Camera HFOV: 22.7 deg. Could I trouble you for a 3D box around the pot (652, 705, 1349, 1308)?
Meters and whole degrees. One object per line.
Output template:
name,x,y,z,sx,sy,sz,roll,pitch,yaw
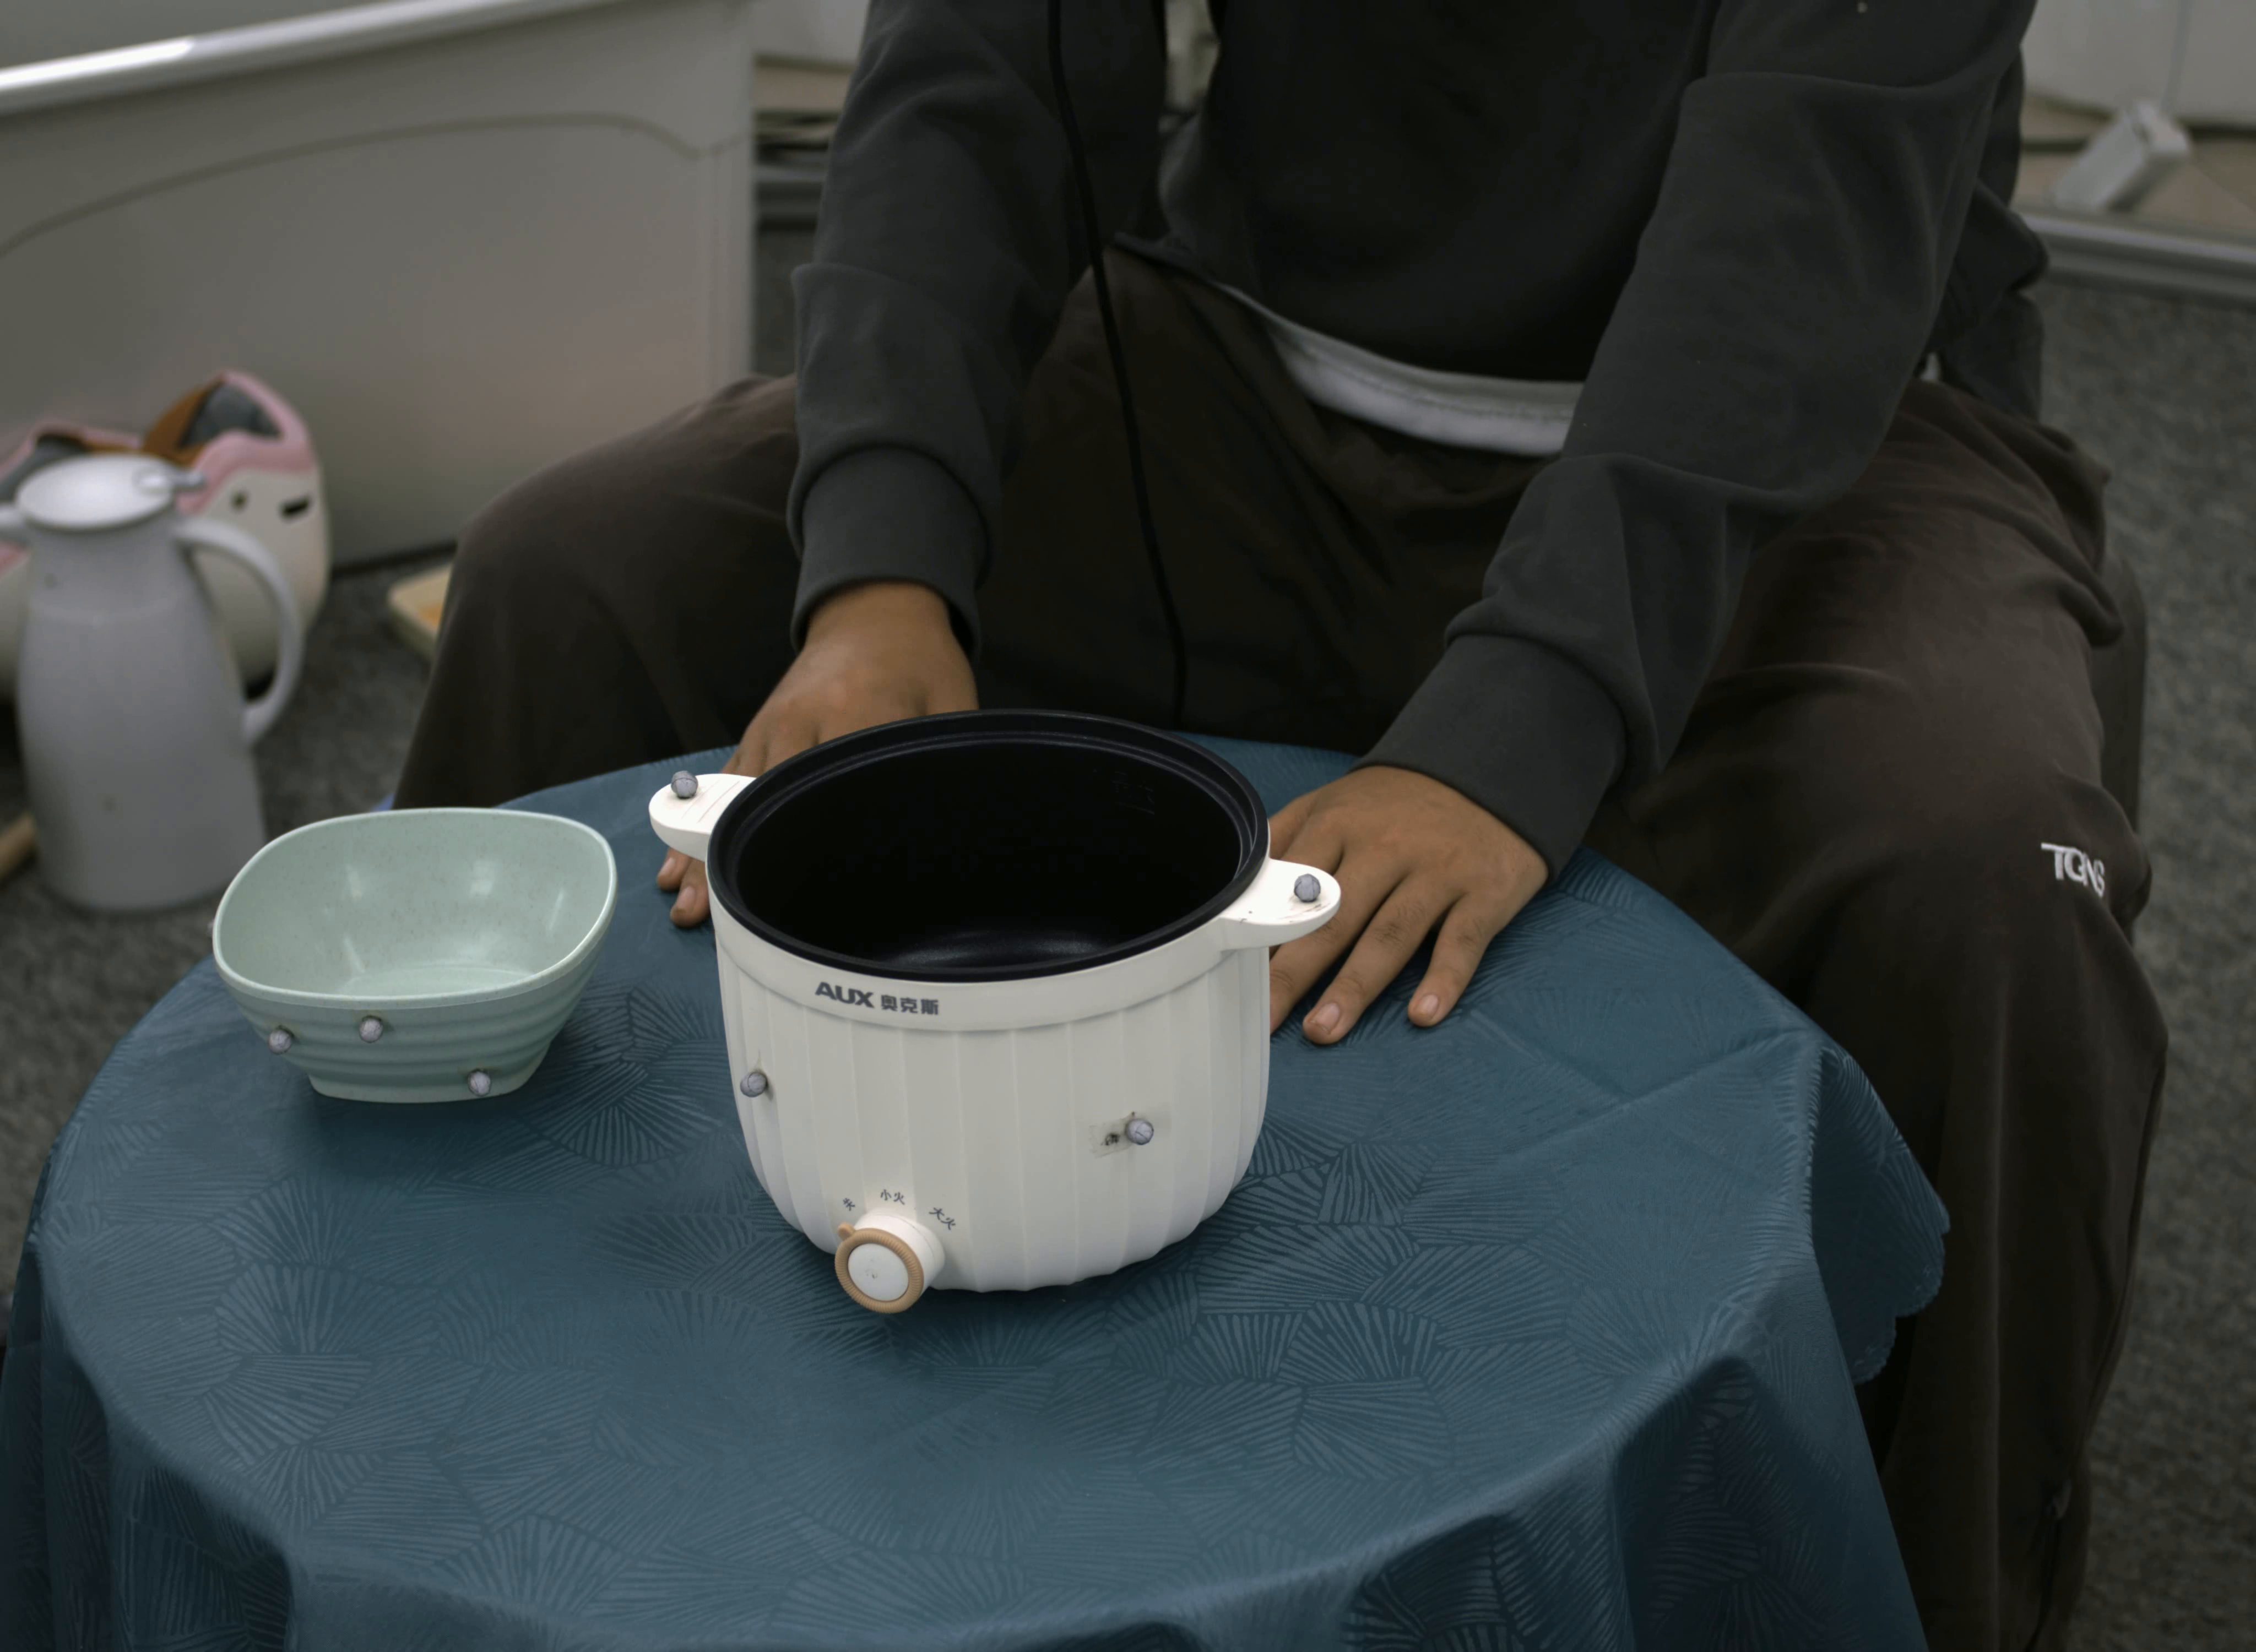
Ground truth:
pot,-0.041,0.062,1.832,0.238,0.141,0.193,6,25,20

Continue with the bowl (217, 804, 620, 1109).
bowl,-0.244,0.052,1.960,0.151,0.058,0.154,-2,29,2
